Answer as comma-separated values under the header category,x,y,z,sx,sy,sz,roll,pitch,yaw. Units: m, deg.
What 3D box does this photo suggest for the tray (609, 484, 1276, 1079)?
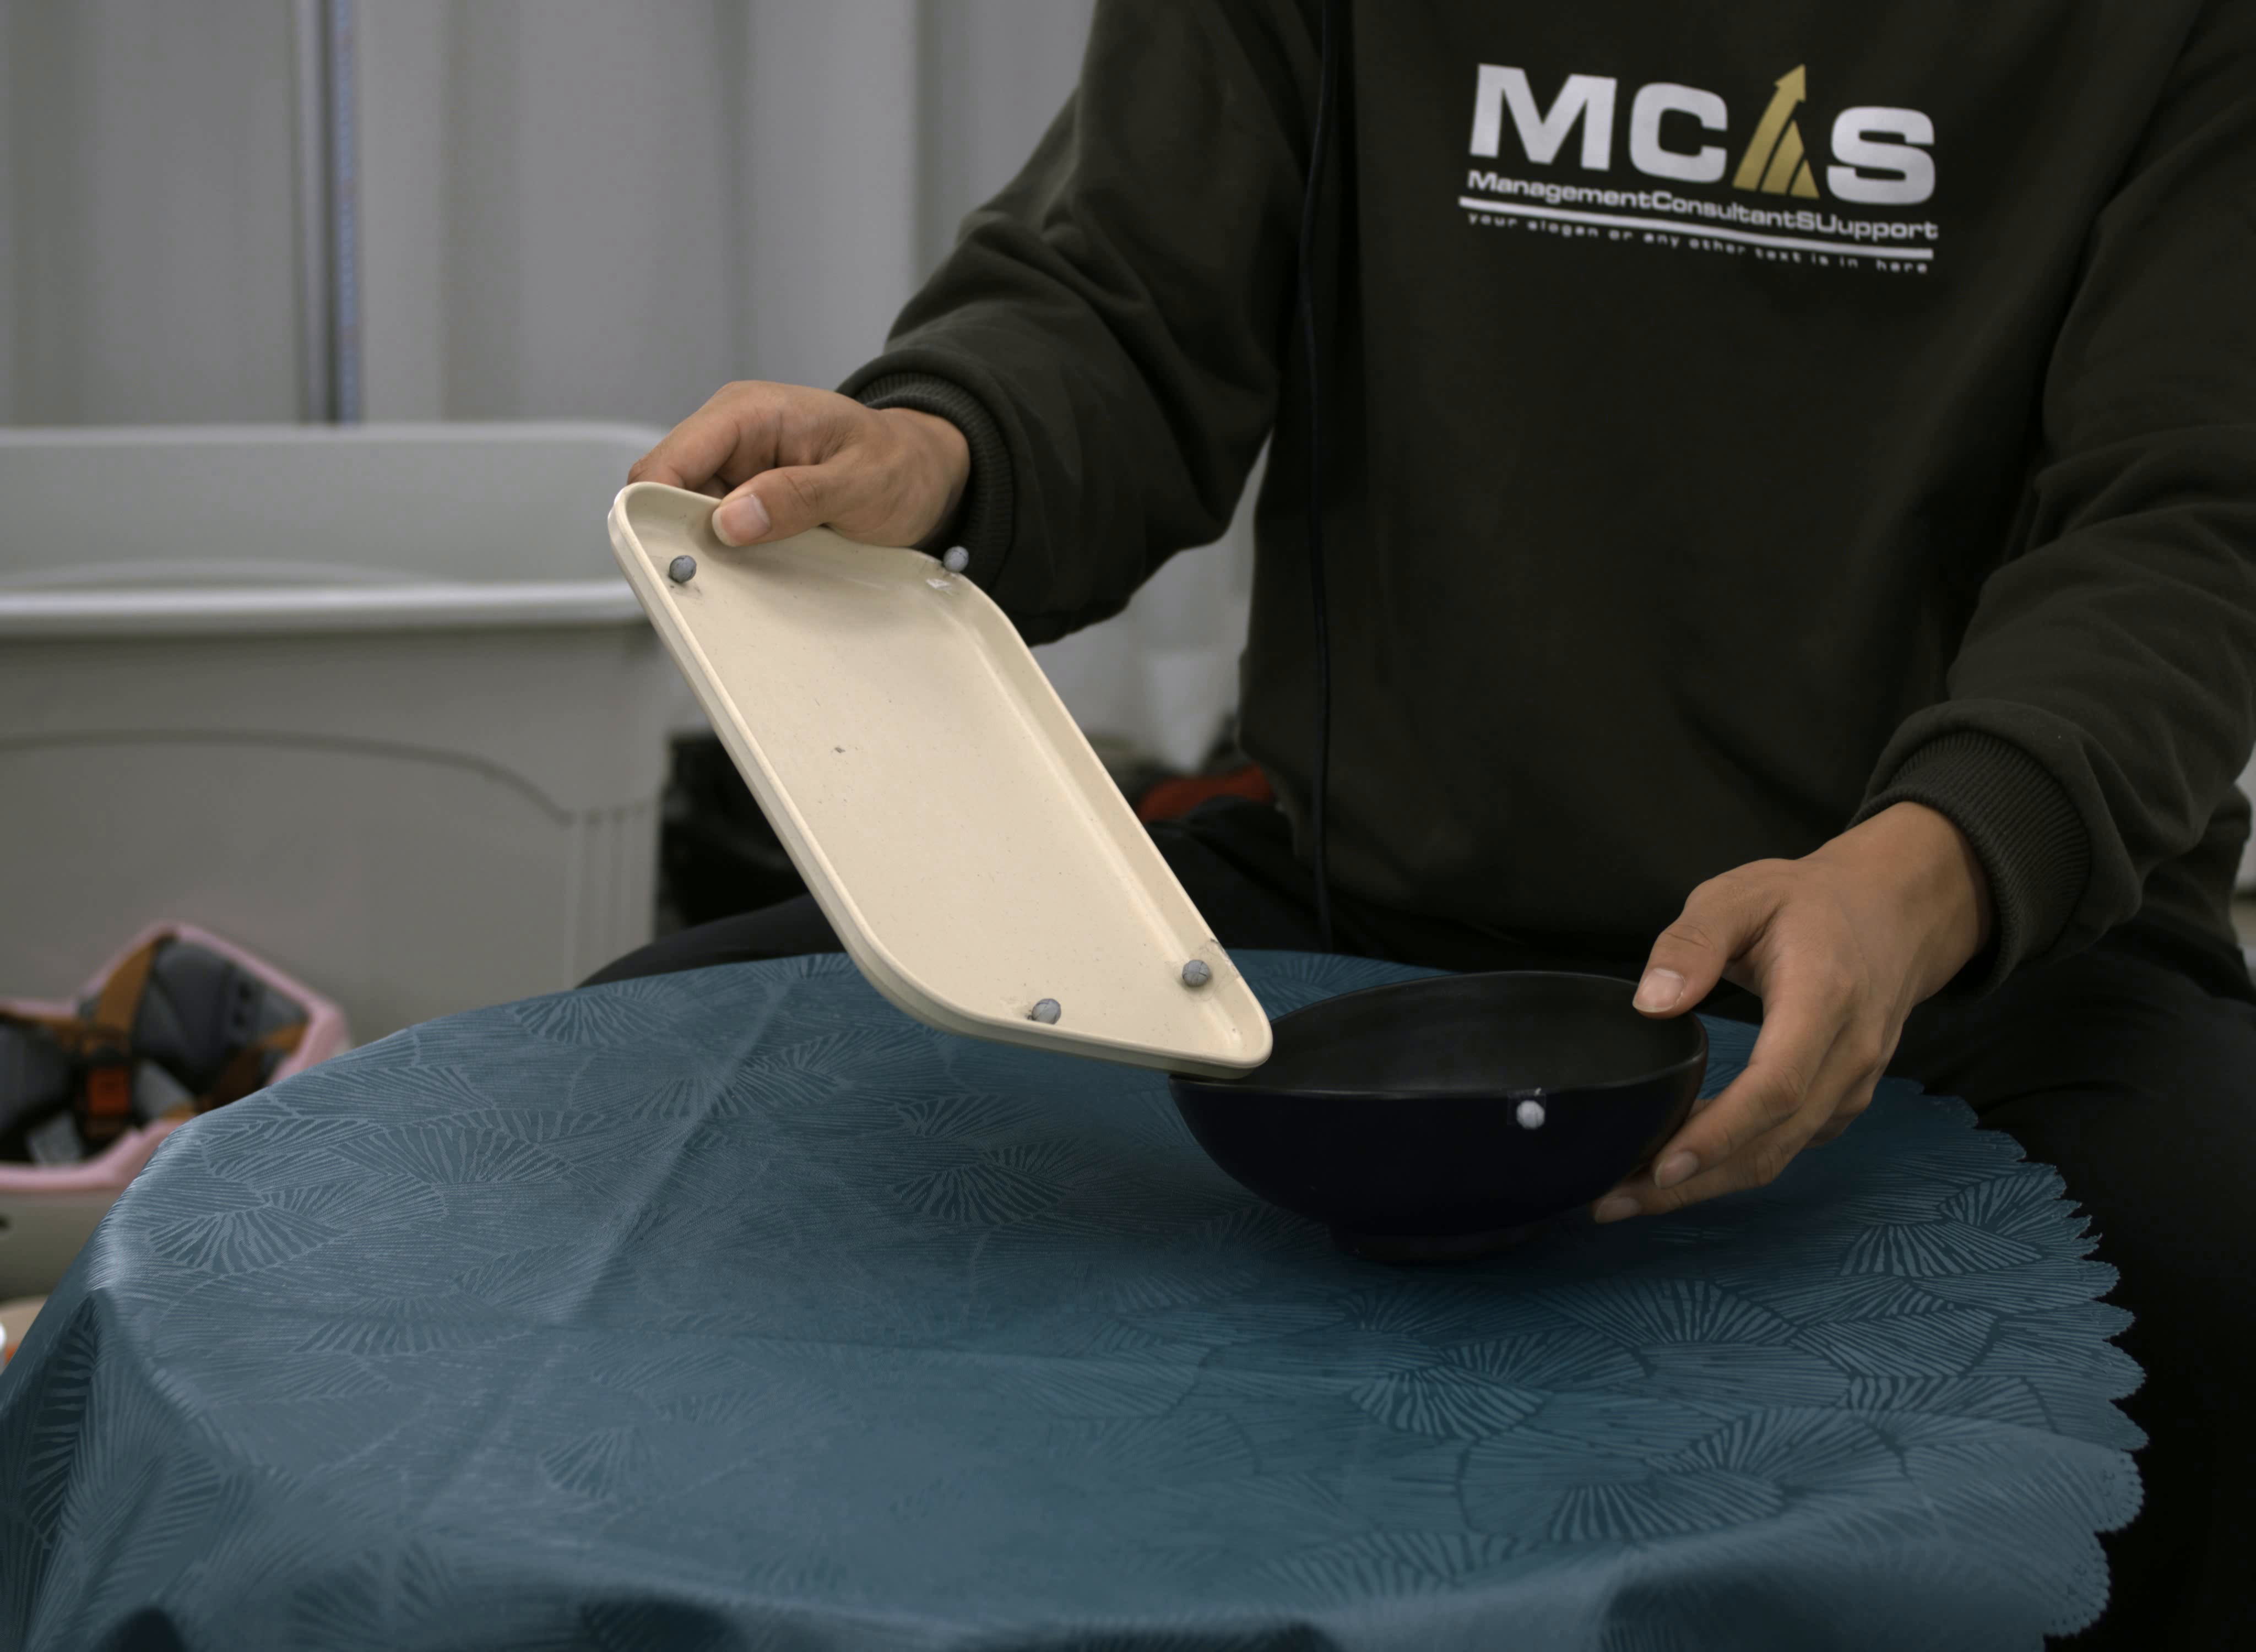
category,x,y,z,sx,sy,sz,roll,pitch,yaw
tray,-0.060,-0.012,1.624,0.173,0.017,0.237,12,36,-46

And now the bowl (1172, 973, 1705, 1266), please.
category,x,y,z,sx,sy,sz,roll,pitch,yaw
bowl,0.093,0.092,1.581,0.168,0.067,0.138,-1,12,28
